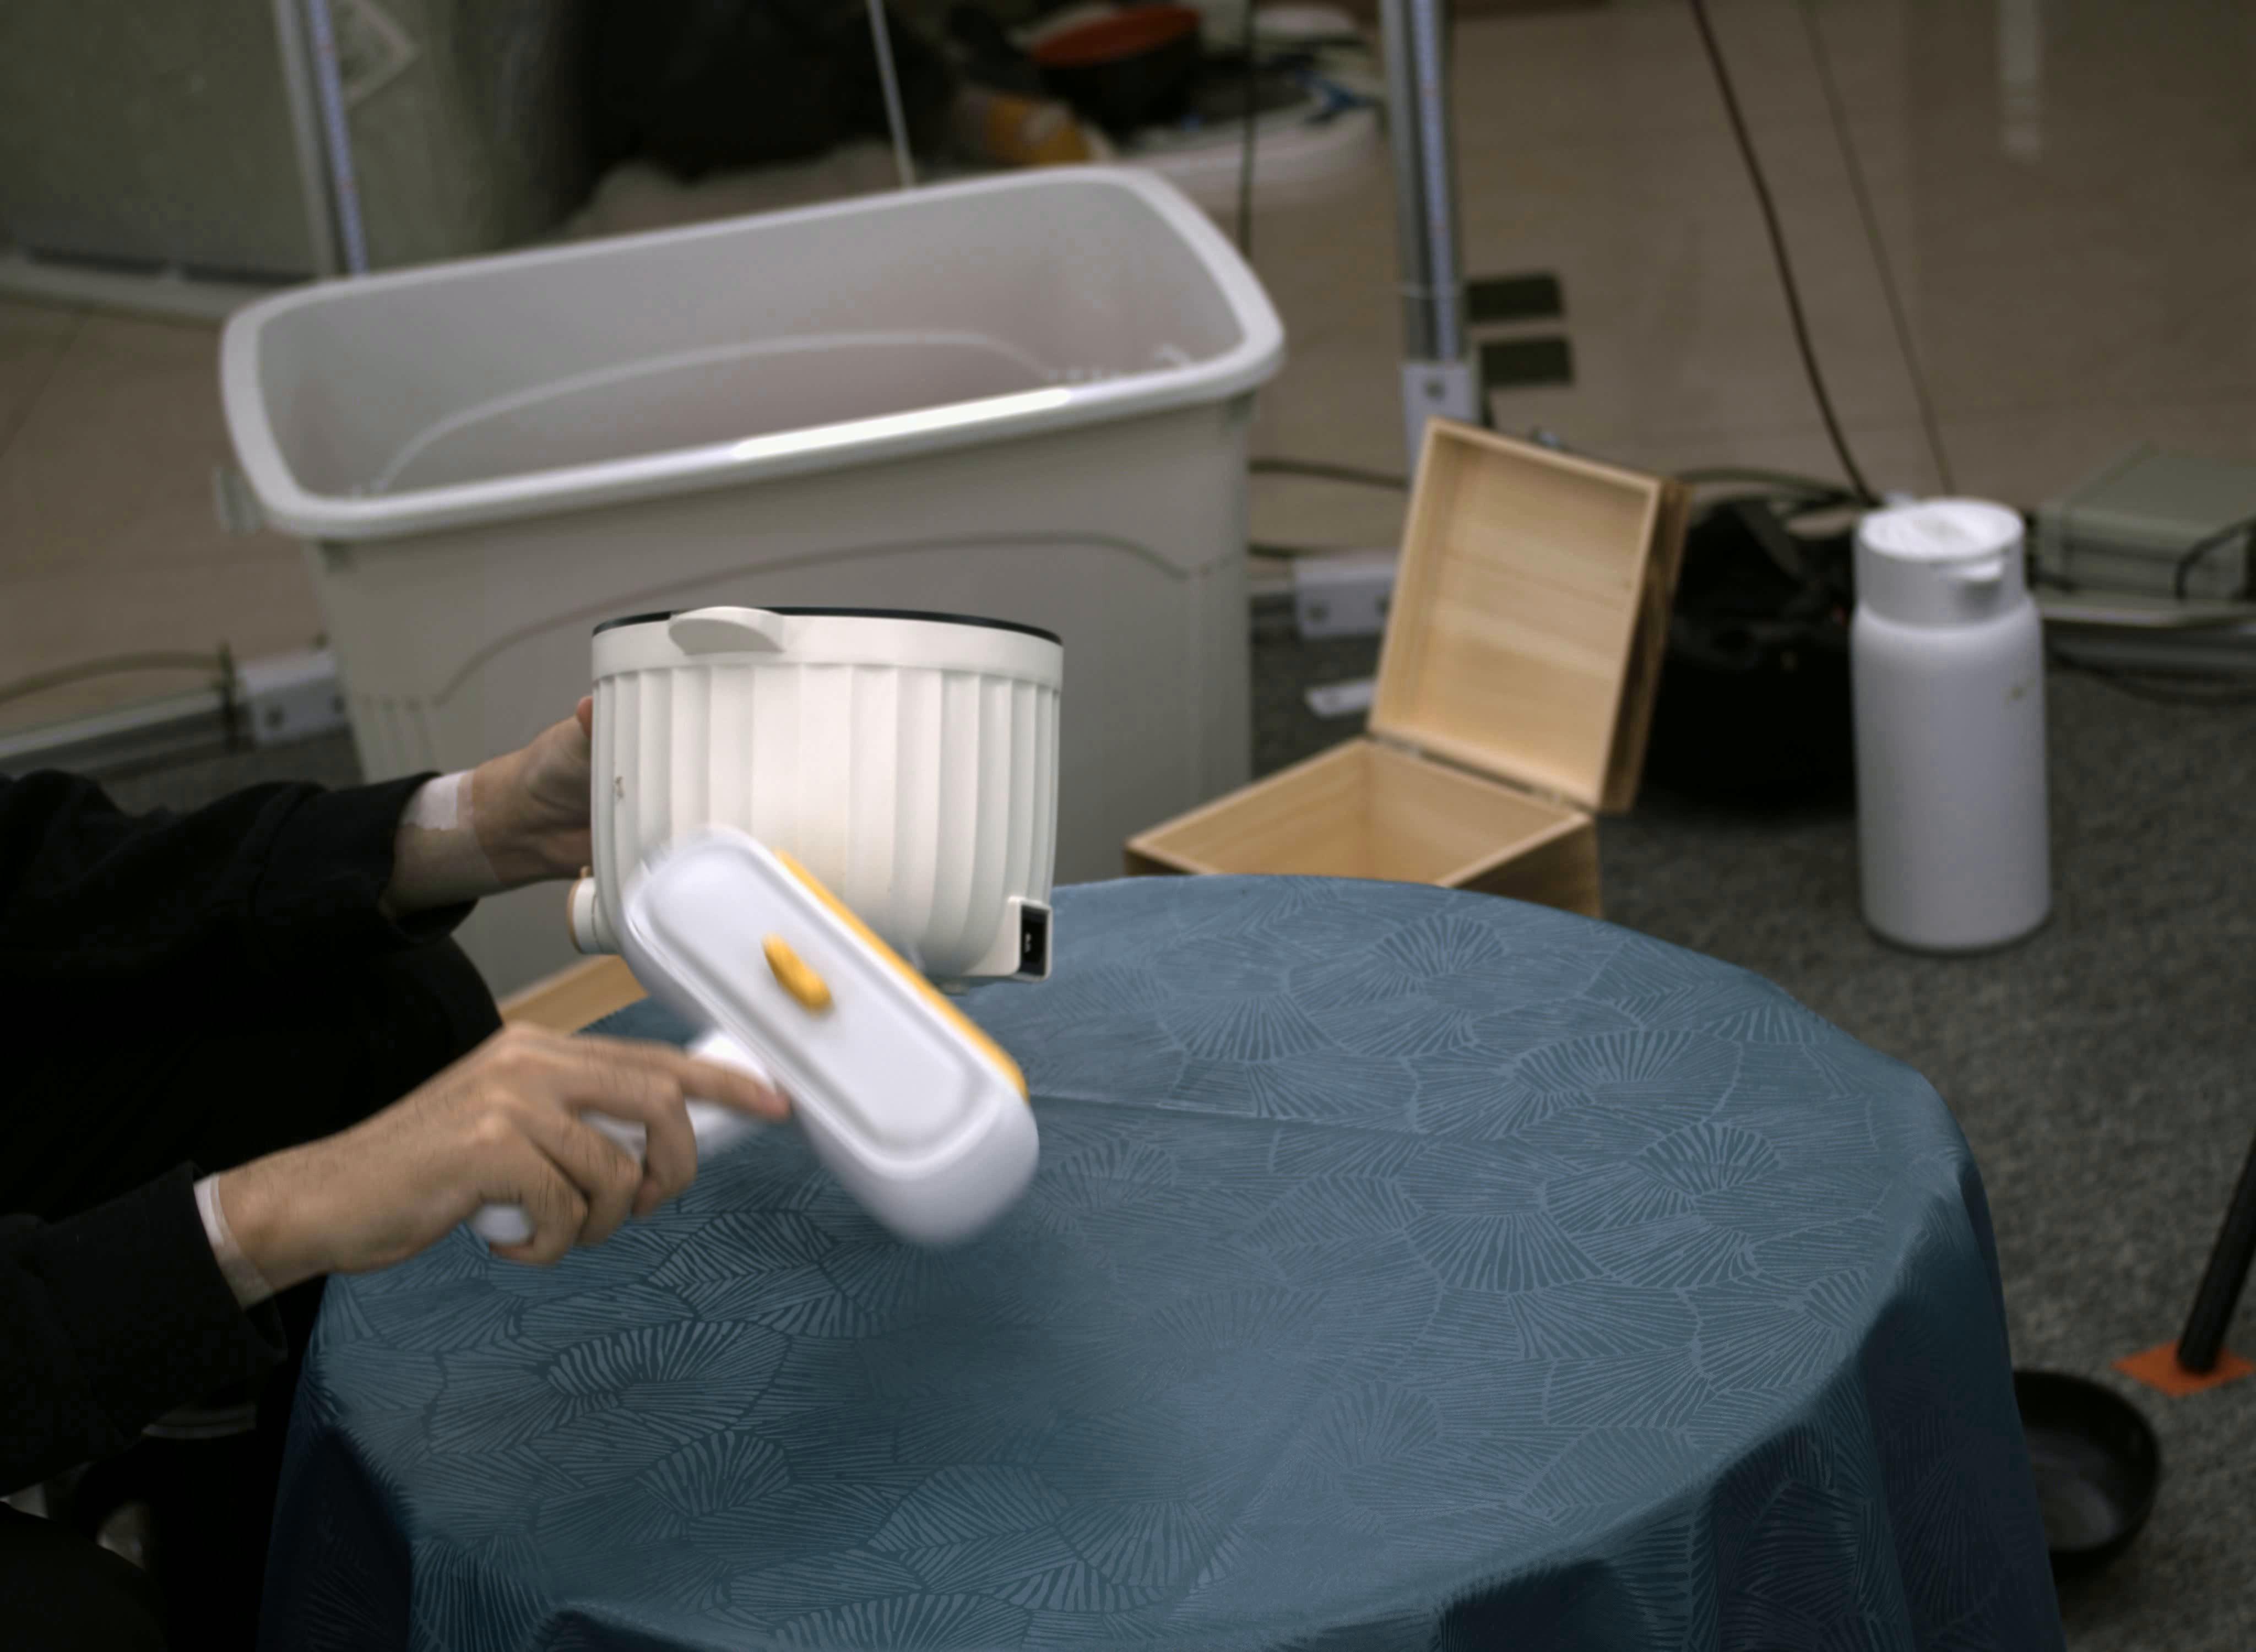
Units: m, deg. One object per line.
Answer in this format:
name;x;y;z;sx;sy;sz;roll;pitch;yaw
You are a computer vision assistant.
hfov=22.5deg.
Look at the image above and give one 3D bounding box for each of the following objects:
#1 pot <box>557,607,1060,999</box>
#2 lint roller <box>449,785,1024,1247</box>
pot;-0.124;-0.006;2.159;0.190;0.142;0.241;2;-5;20
lint roller;-0.158;0.087;1.987;0.191;0.075;0.191;39;65;23
